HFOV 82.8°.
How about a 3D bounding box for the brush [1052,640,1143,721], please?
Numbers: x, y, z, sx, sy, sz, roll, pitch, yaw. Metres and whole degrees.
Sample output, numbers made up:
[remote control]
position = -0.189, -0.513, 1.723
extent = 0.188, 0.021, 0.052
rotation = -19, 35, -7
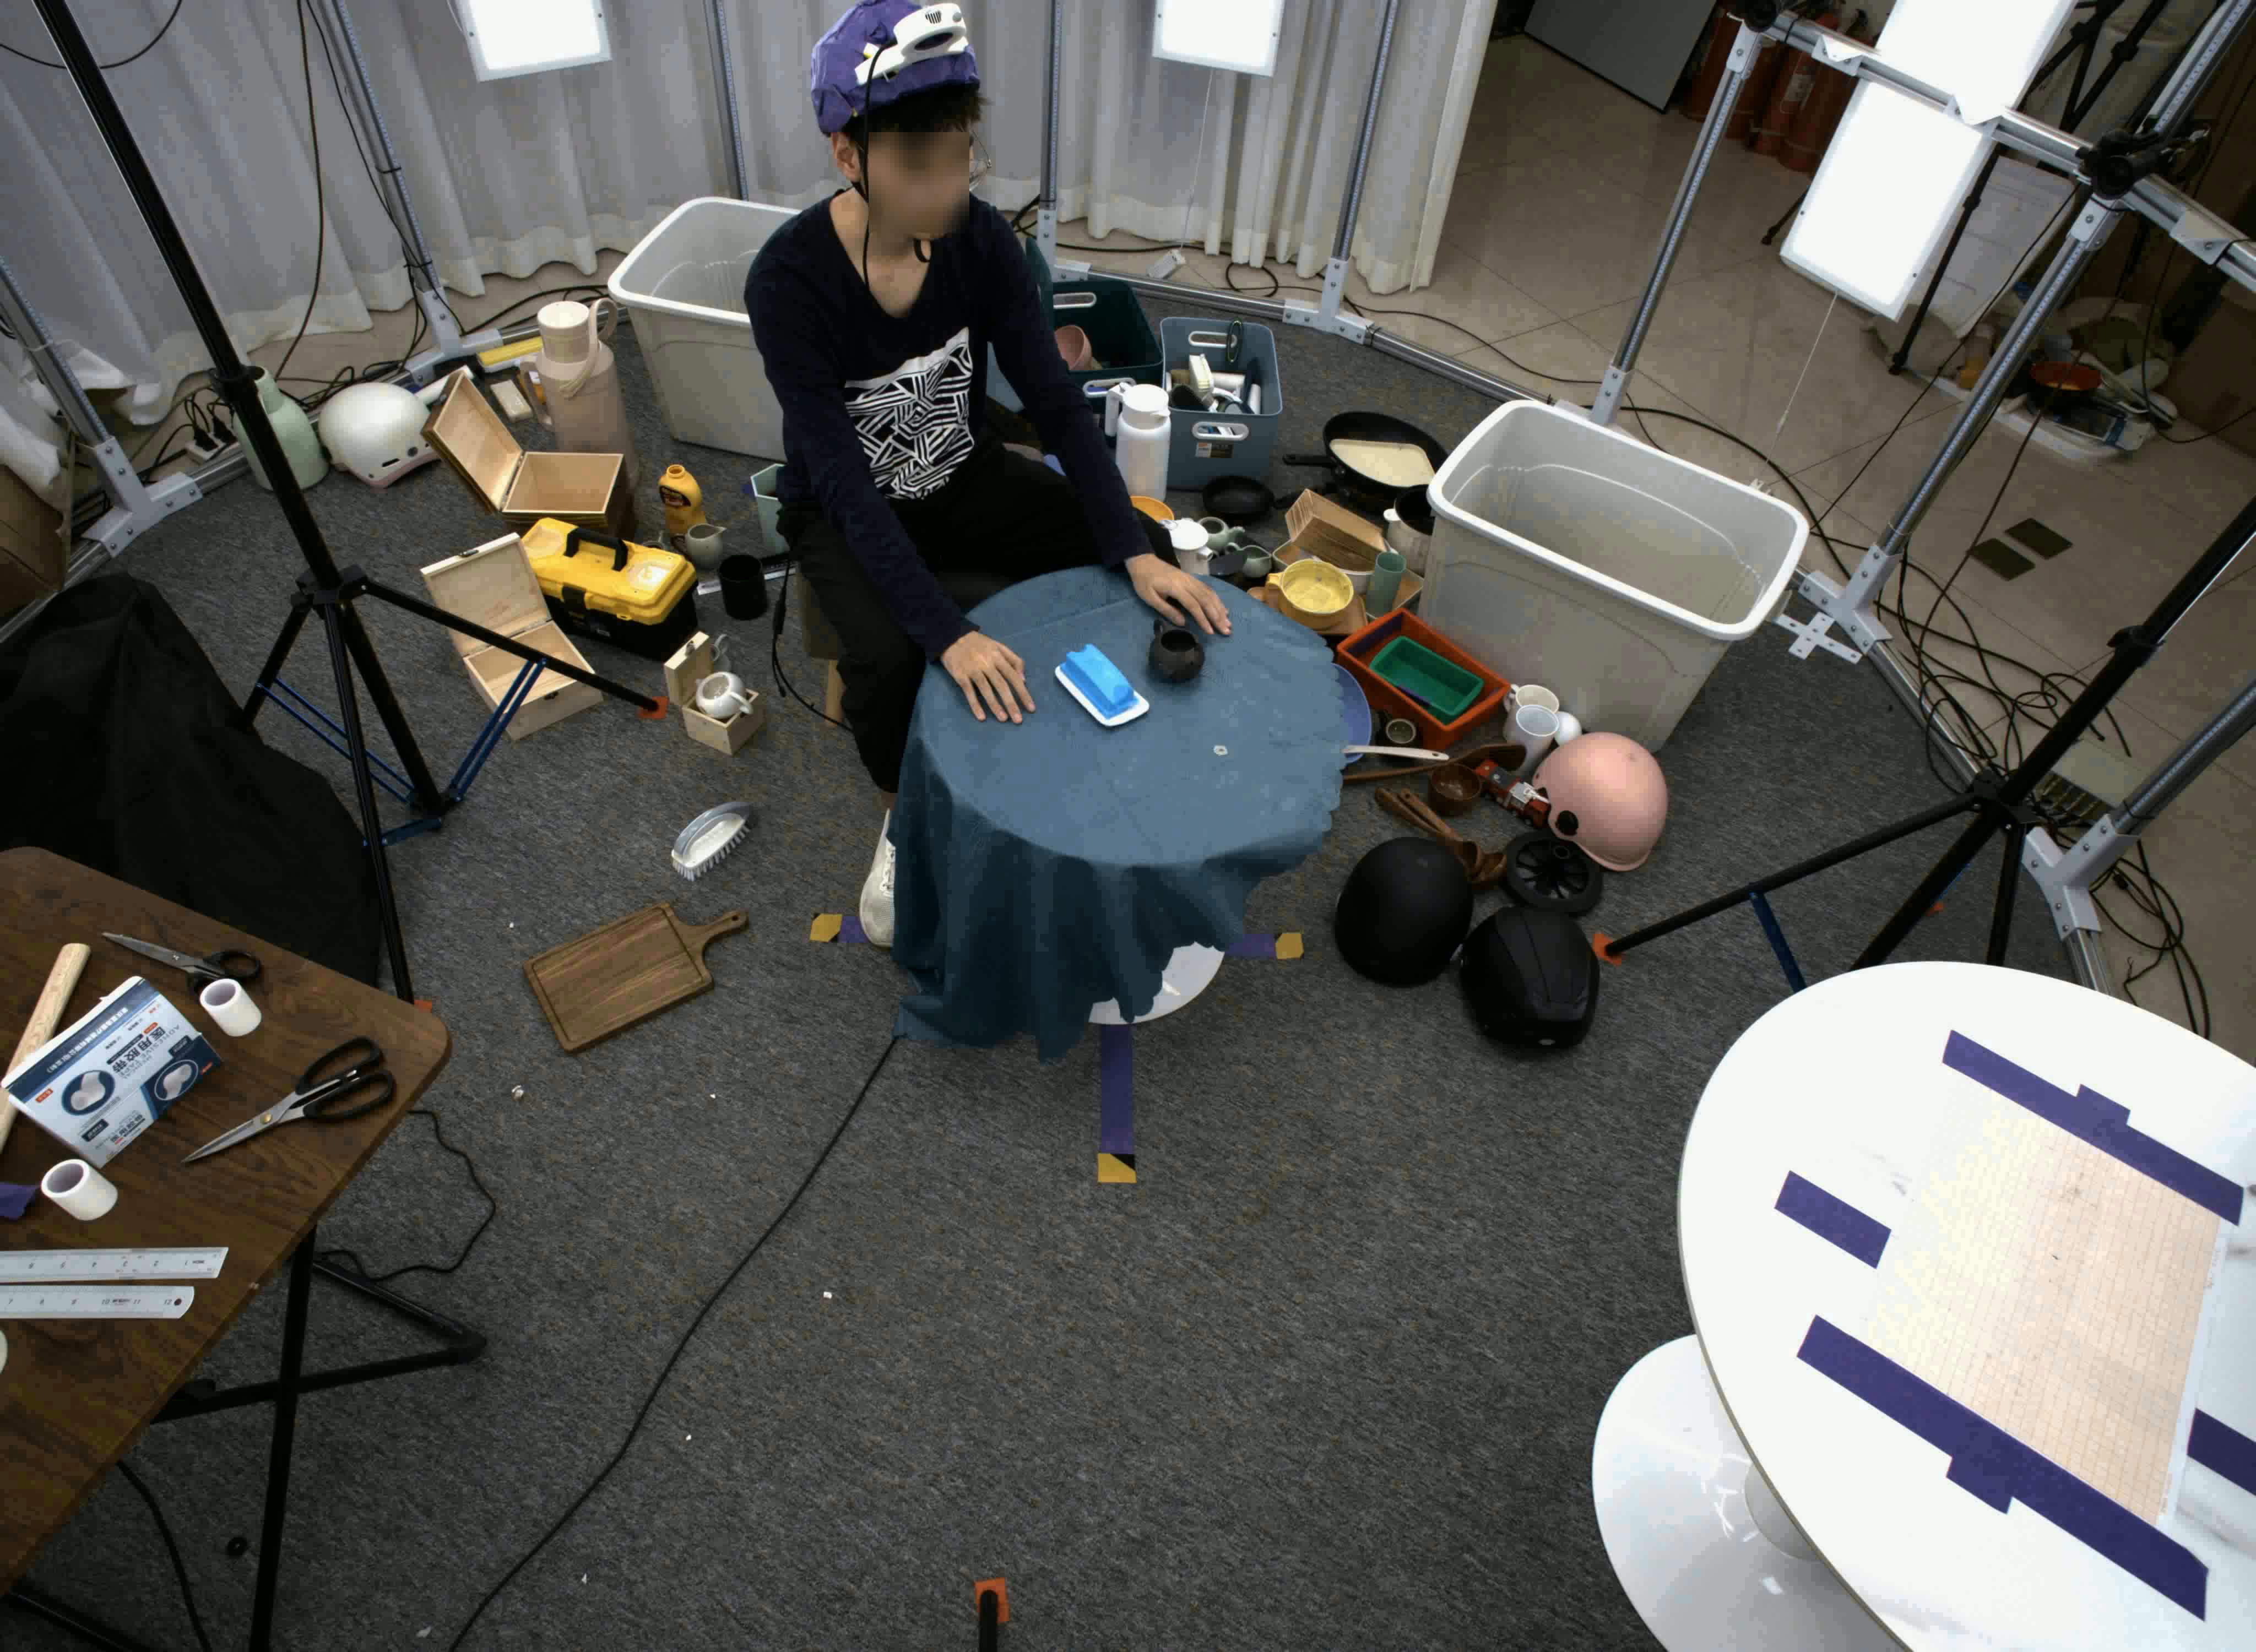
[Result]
[brush]
position = -0.041, -0.212, 1.811
extent = 0.084, 0.054, 0.147
rotation = -22, 55, -26

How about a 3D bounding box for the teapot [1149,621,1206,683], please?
[teapot]
position = 0.067, -0.254, 1.862
extent = 0.083, 0.052, 0.117
rotation = -12, 53, -19
